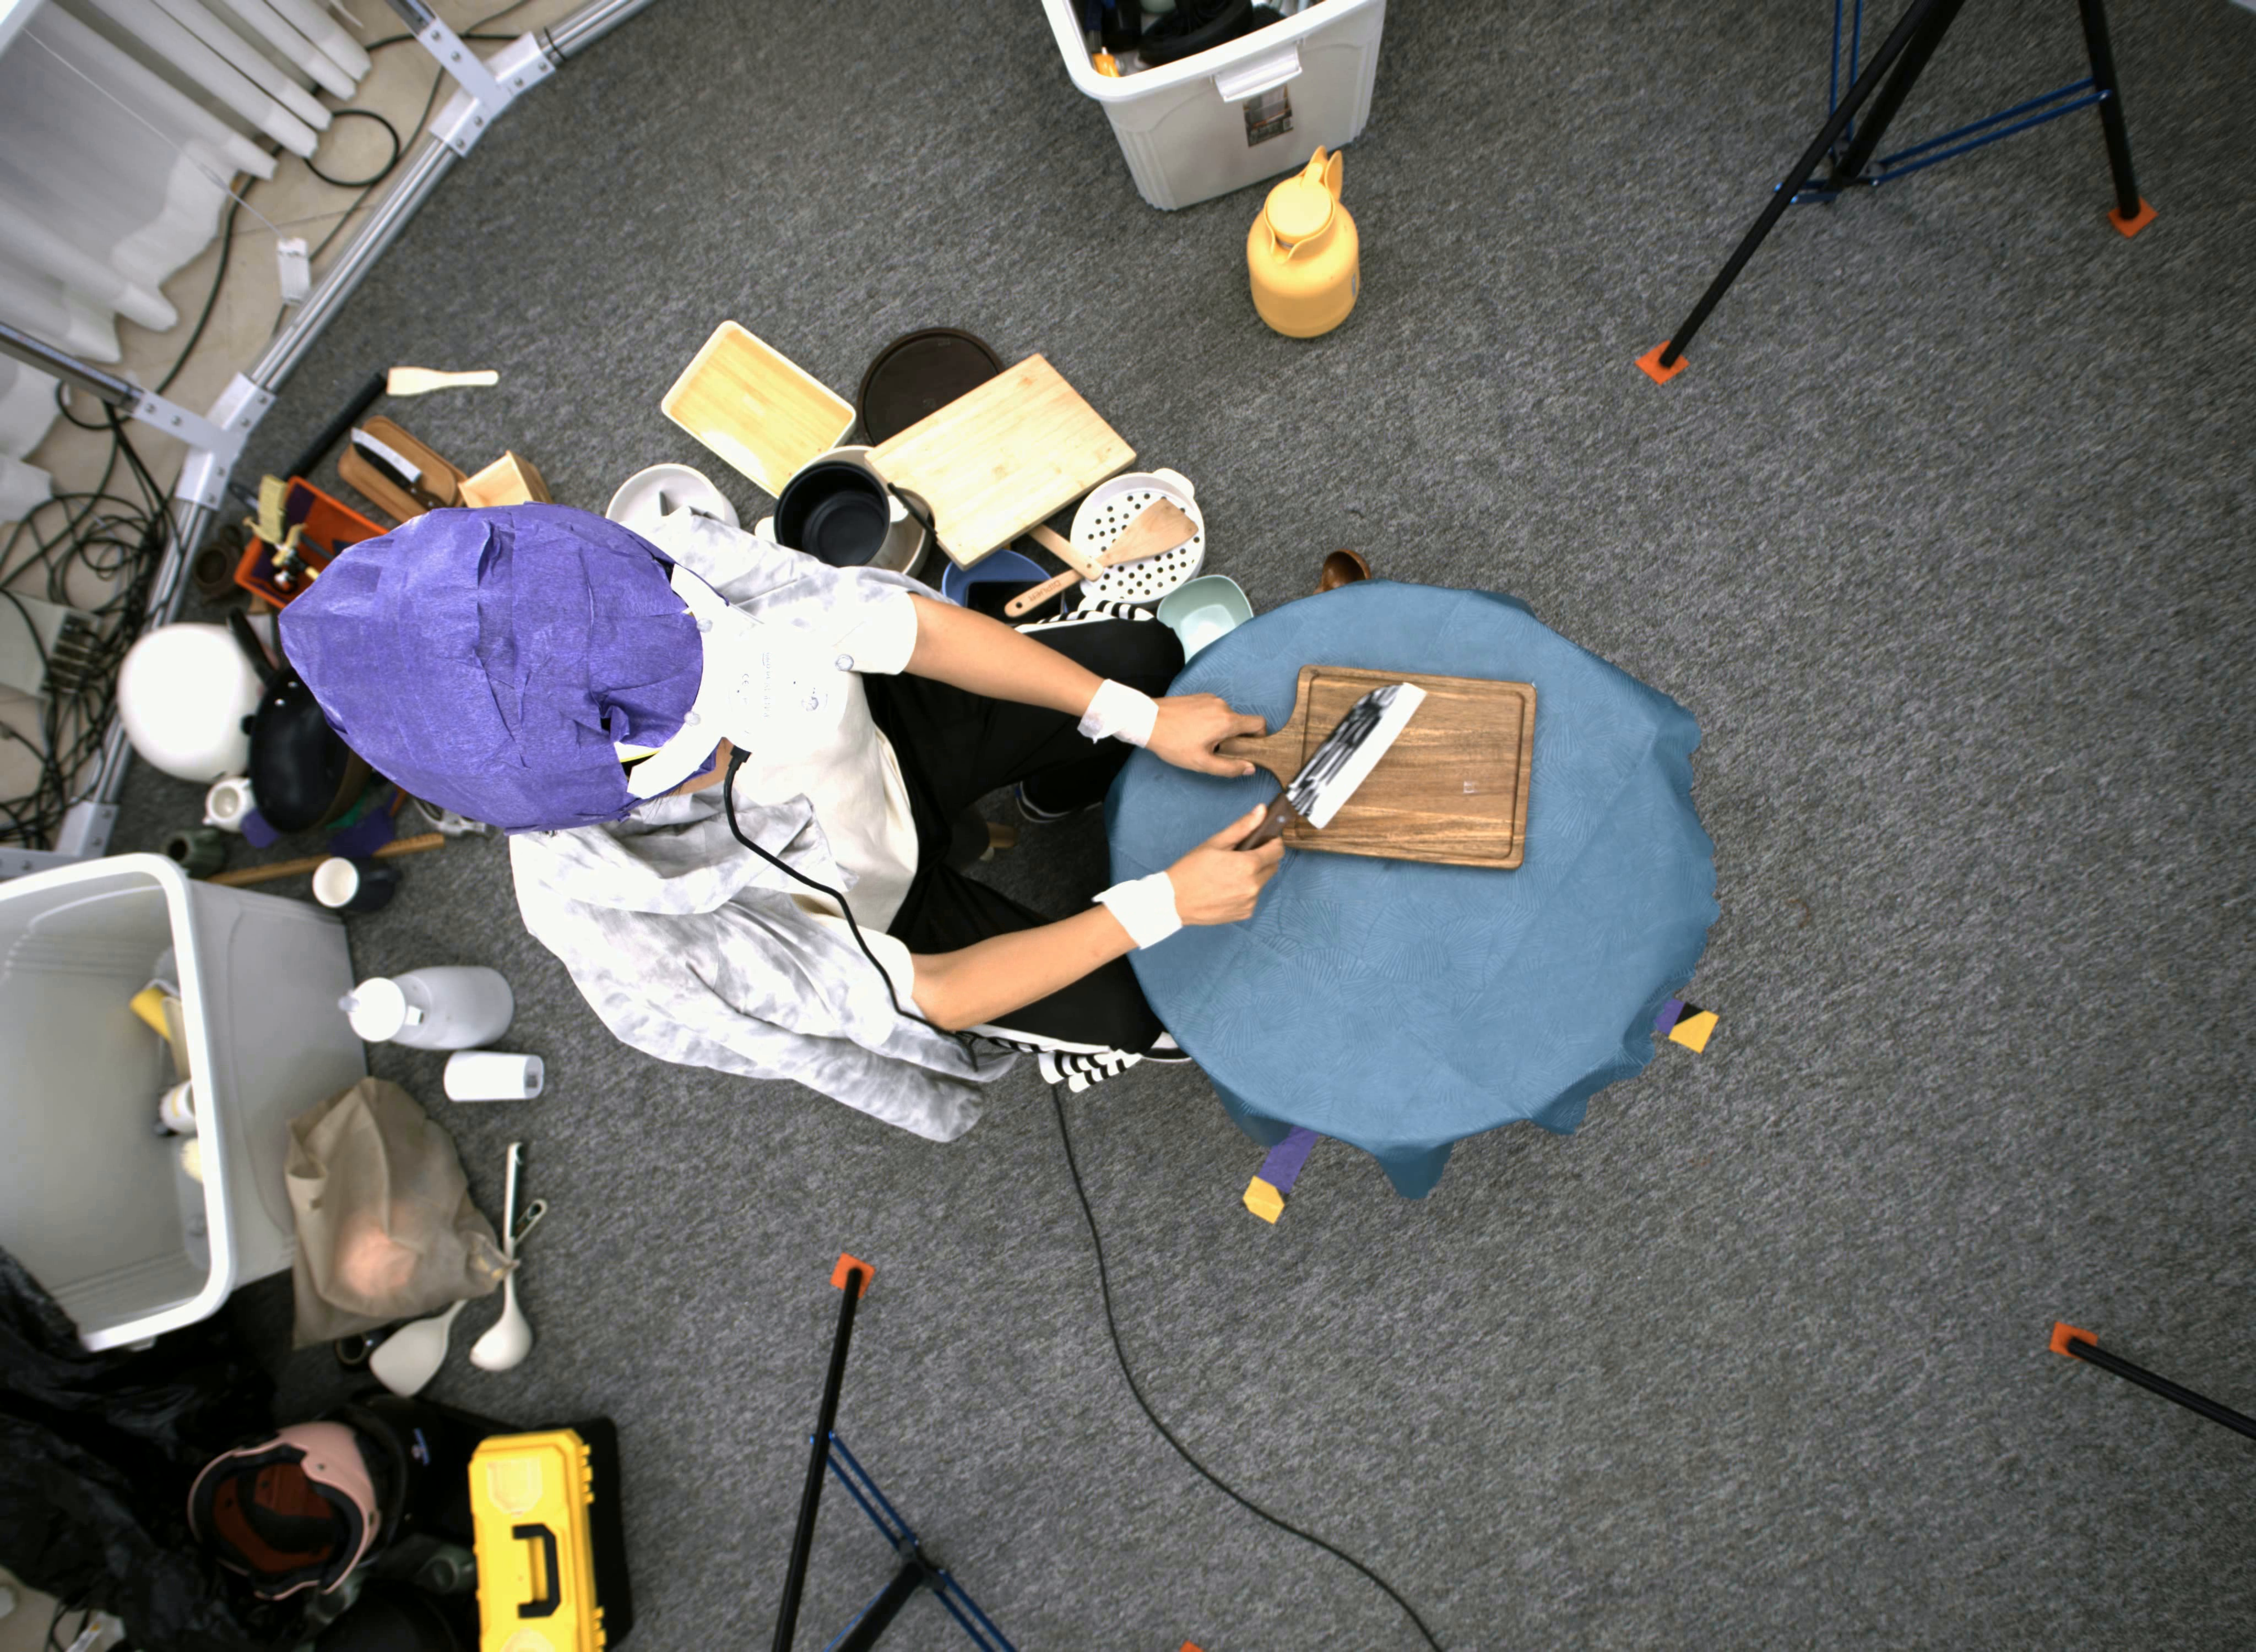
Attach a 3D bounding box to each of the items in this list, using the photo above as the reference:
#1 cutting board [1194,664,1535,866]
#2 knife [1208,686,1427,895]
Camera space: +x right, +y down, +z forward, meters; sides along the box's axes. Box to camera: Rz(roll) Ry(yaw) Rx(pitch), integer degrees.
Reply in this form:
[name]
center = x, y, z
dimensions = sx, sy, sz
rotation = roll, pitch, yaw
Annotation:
[cutting board]
center = 0.245, -0.070, 1.451
dimensions = 0.353, 0.023, 0.200
rotation = 5, 88, 9
[knife]
center = 0.194, -0.035, 1.396
dimensions = 0.069, 0.023, 0.300
rotation = 39, 92, -32
